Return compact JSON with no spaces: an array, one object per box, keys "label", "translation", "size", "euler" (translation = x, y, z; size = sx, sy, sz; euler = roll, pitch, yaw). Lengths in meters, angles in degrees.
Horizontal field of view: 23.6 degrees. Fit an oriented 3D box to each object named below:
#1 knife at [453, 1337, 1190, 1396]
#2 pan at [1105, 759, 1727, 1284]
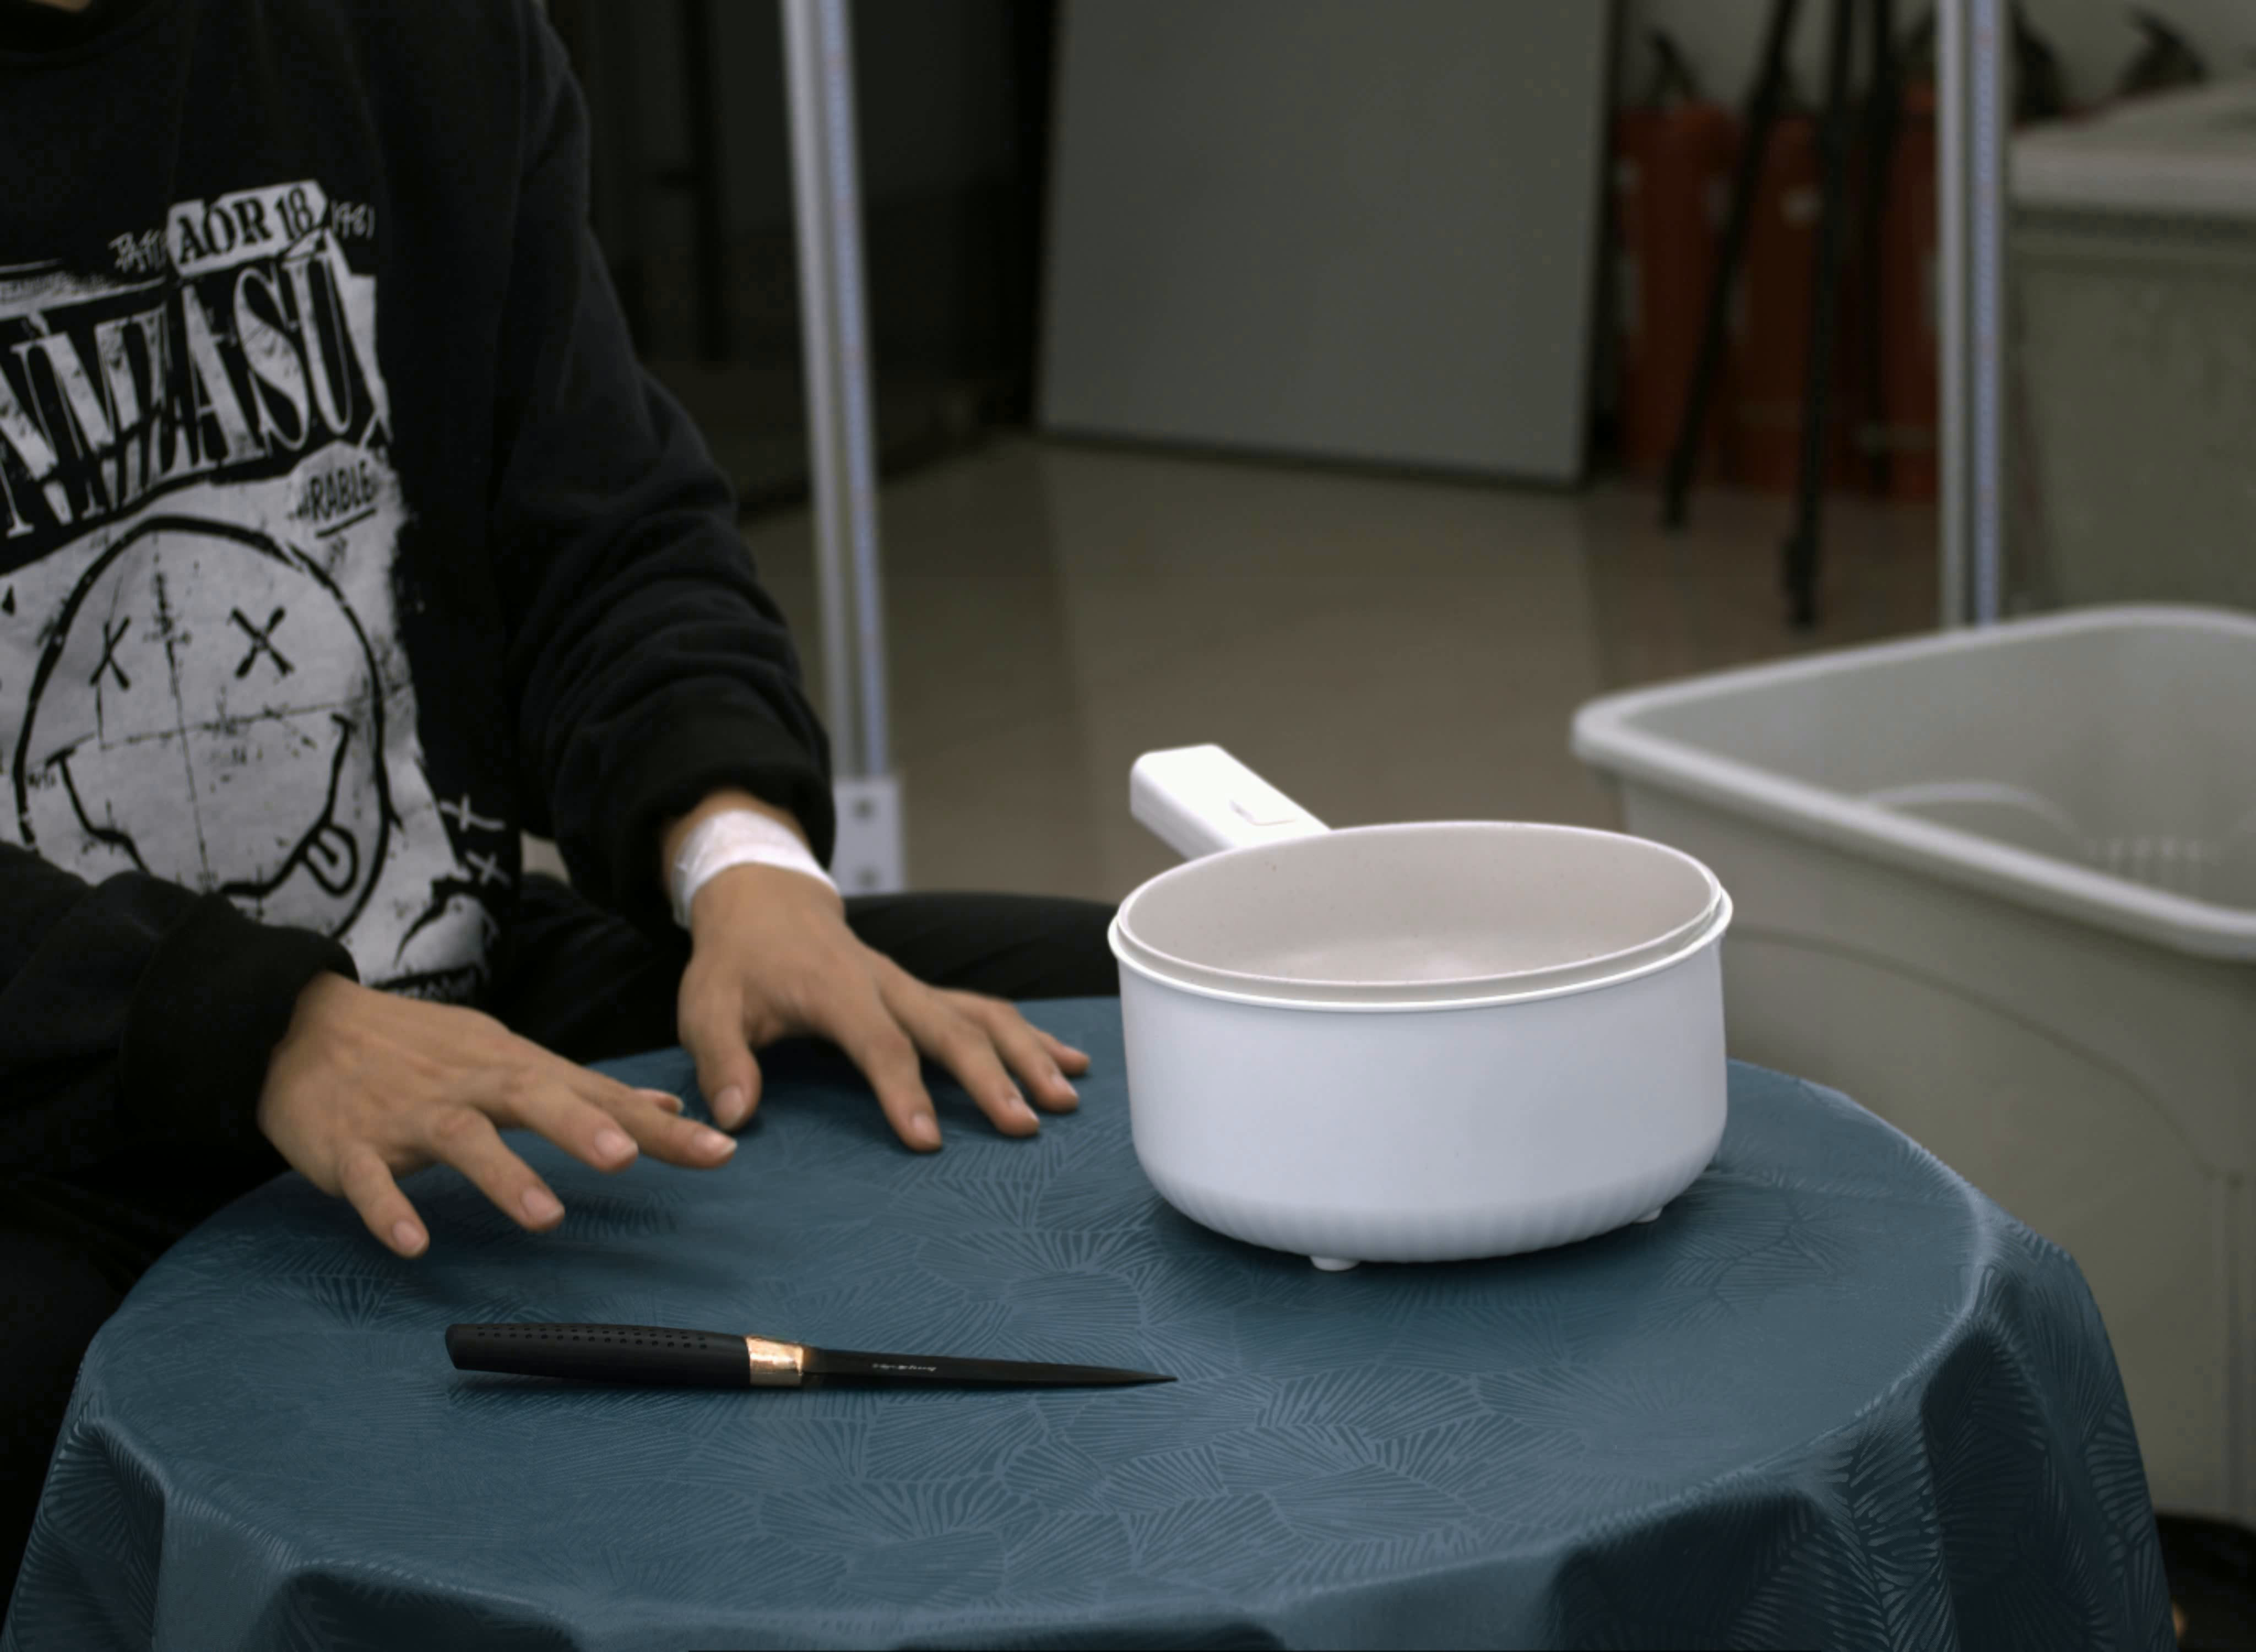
[{"label":"knife","translation":[-0.092,0.162,1.618],"size":[0.224,0.017,0.026],"euler":[0,2,11]},{"label":"pan","translation":[0.074,0.059,1.809],"size":[0.197,0.103,0.357],"euler":[-10,14,-15]}]
